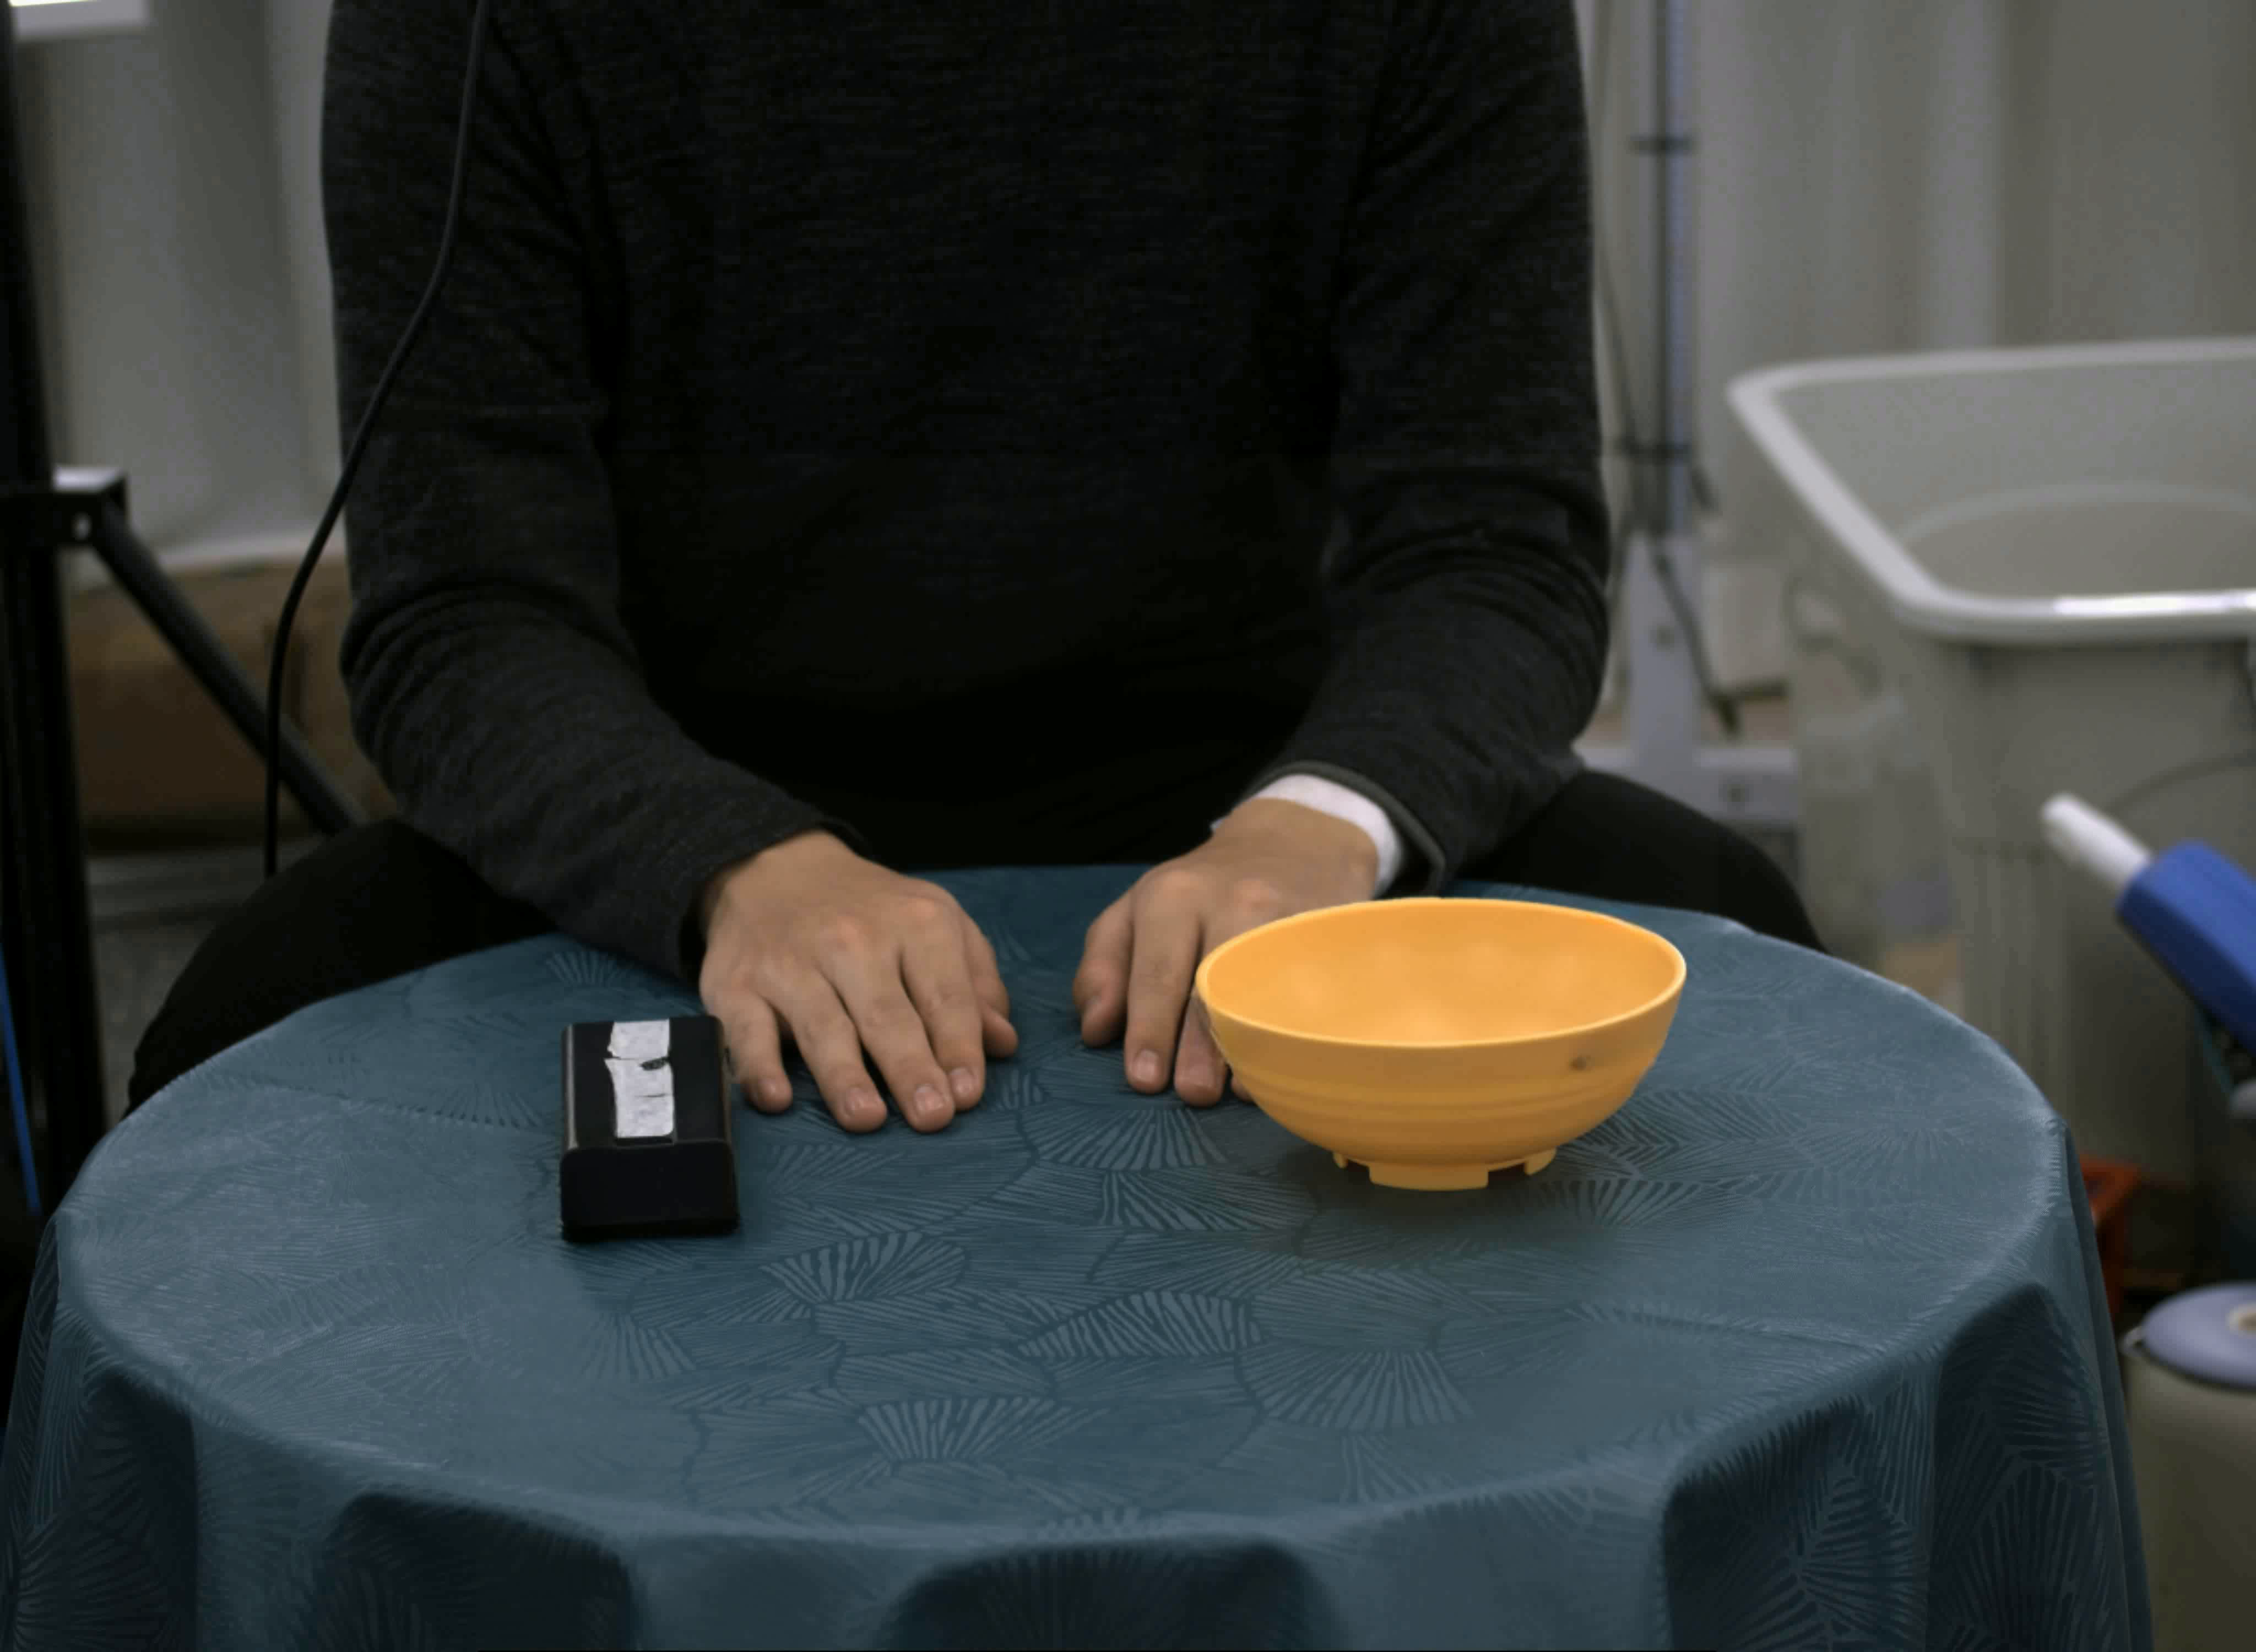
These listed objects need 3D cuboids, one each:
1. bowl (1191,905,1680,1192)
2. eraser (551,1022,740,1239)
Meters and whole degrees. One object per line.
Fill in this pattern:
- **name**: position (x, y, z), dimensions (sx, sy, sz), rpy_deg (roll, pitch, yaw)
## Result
- **bowl**: position (0.090, 0.070, 1.568), dimensions (0.144, 0.060, 0.146), rpy_deg (0, 14, -1)
- **eraser**: position (-0.145, 0.090, 1.592), dimensions (0.053, 0.030, 0.126), rpy_deg (-1, 15, -6)
